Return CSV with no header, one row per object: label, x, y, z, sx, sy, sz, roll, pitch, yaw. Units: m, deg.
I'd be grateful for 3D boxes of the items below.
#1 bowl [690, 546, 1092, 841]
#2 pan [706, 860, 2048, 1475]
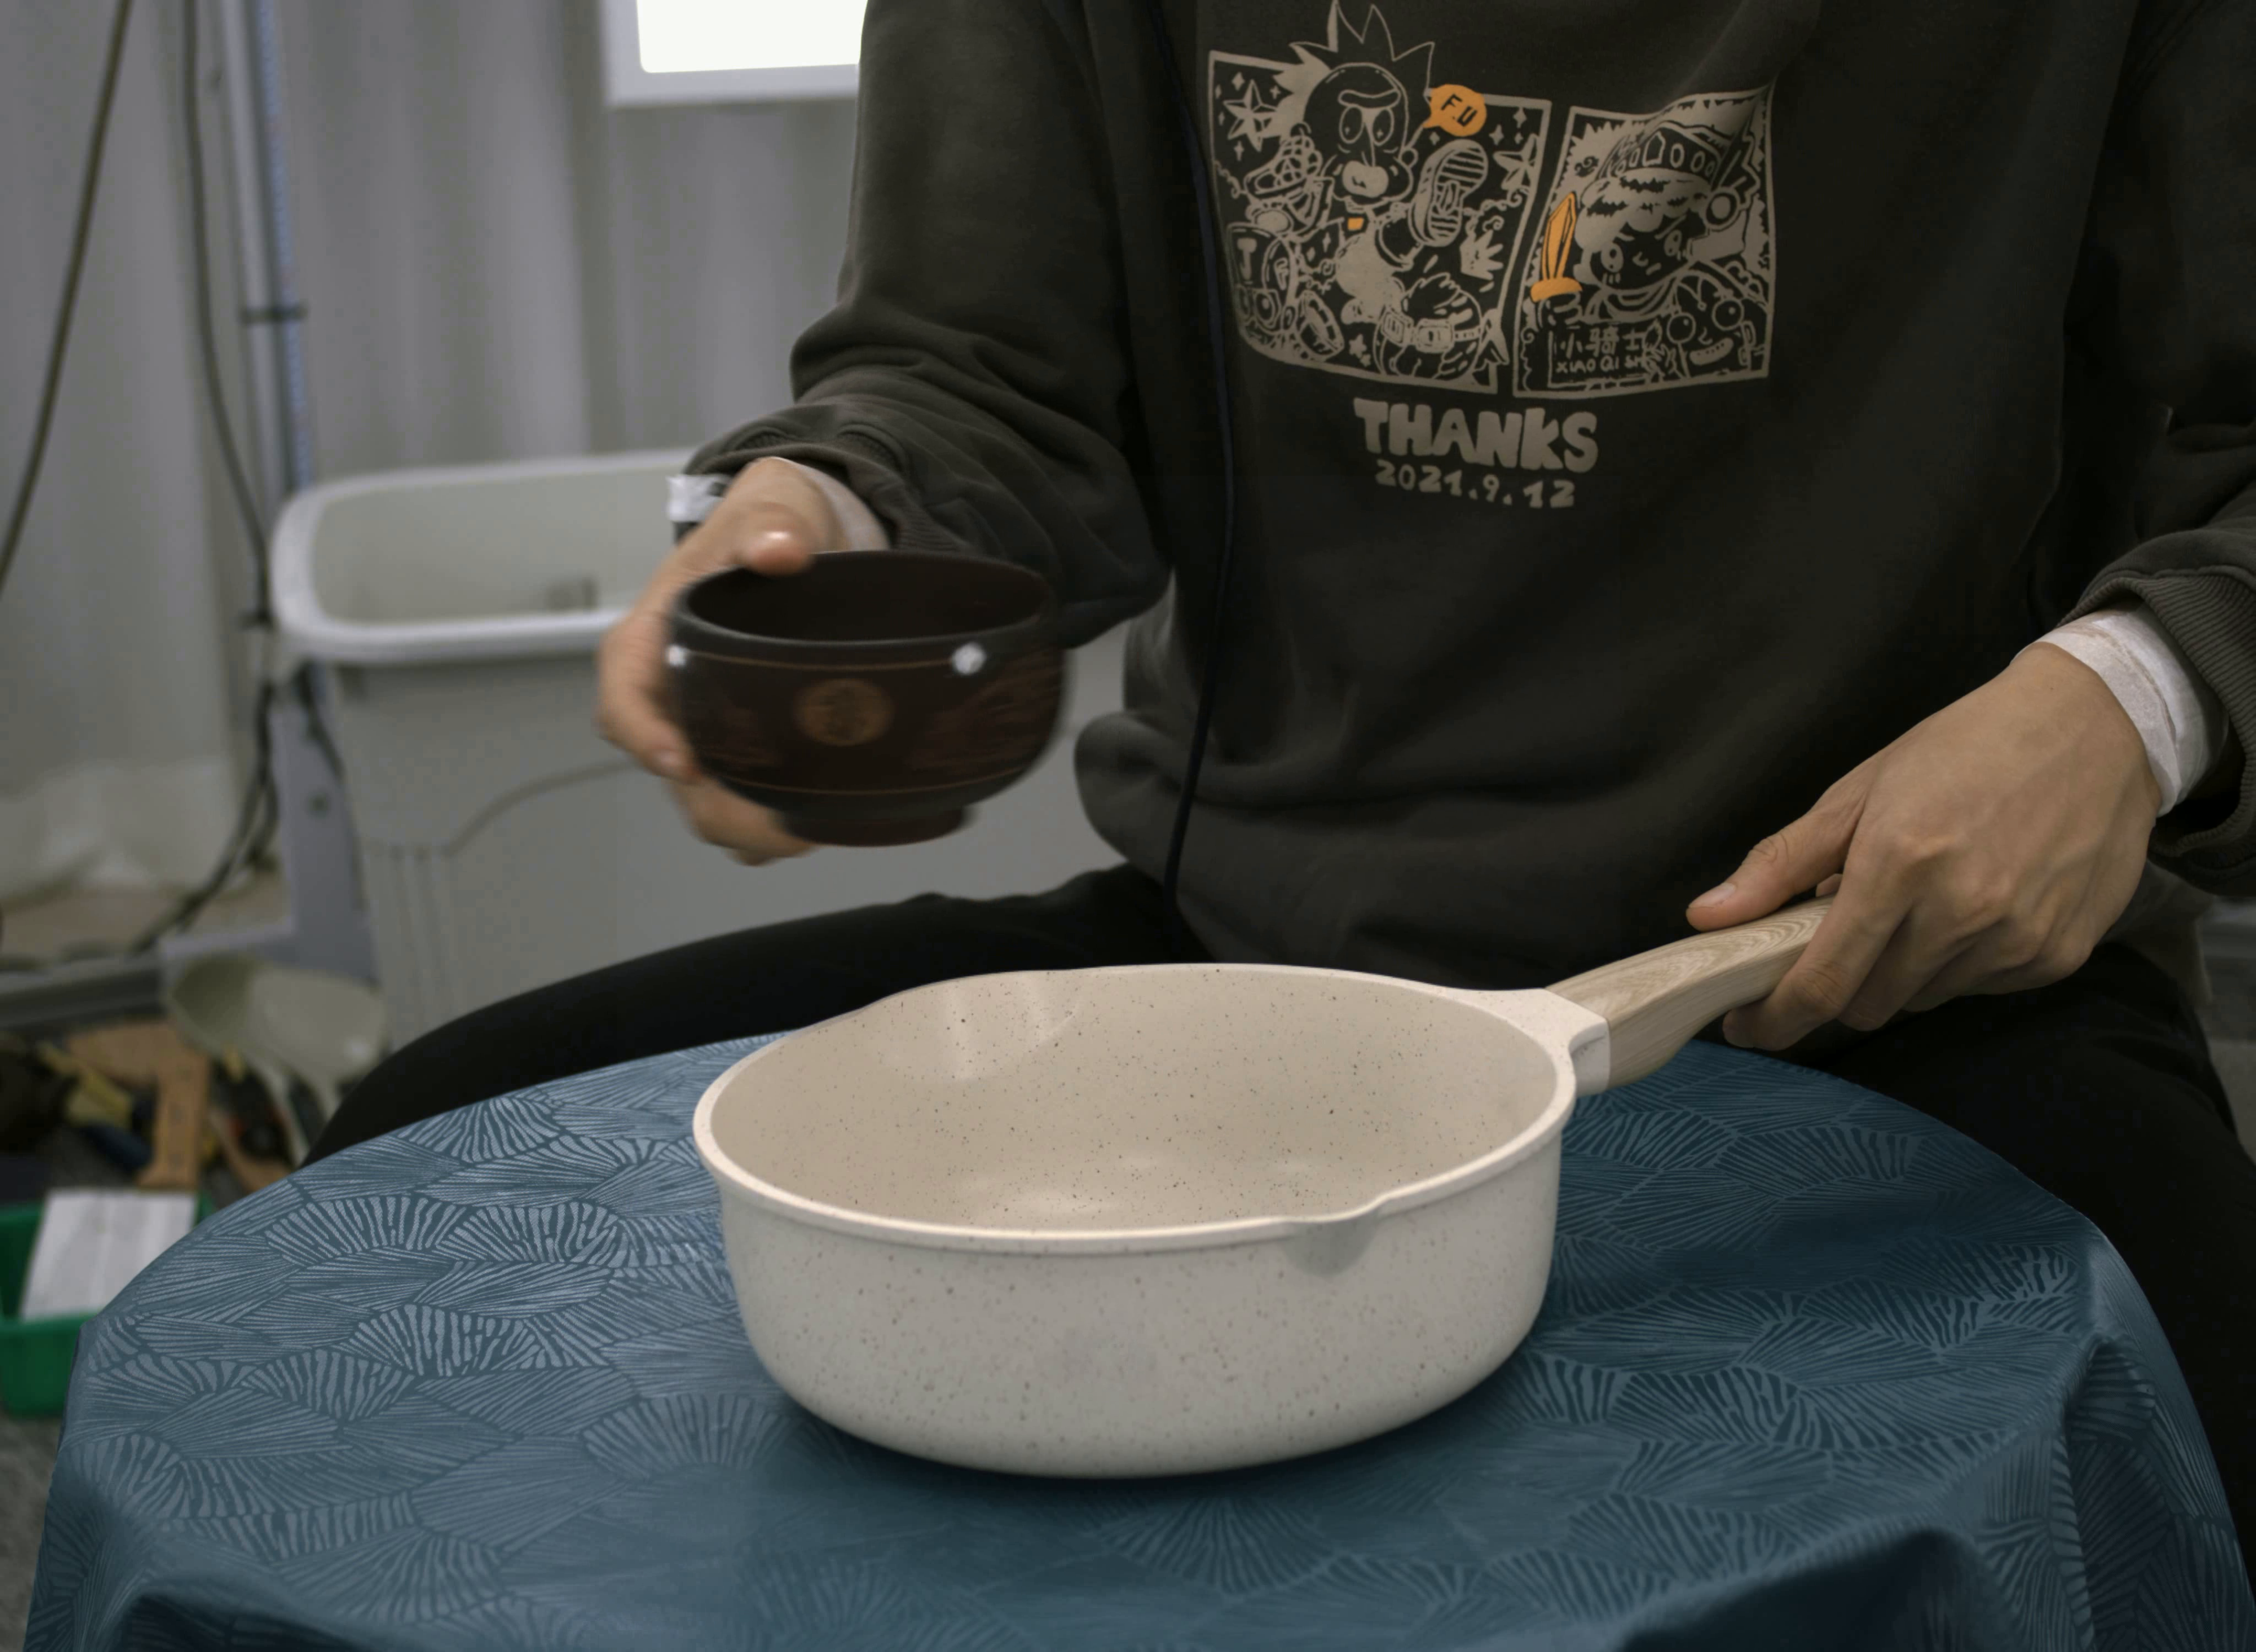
bowl,-0.069,-0.036,1.604,0.117,0.069,0.119,-2,14,0
pan,0.089,0.093,1.596,0.433,0.101,0.265,-9,14,-24
